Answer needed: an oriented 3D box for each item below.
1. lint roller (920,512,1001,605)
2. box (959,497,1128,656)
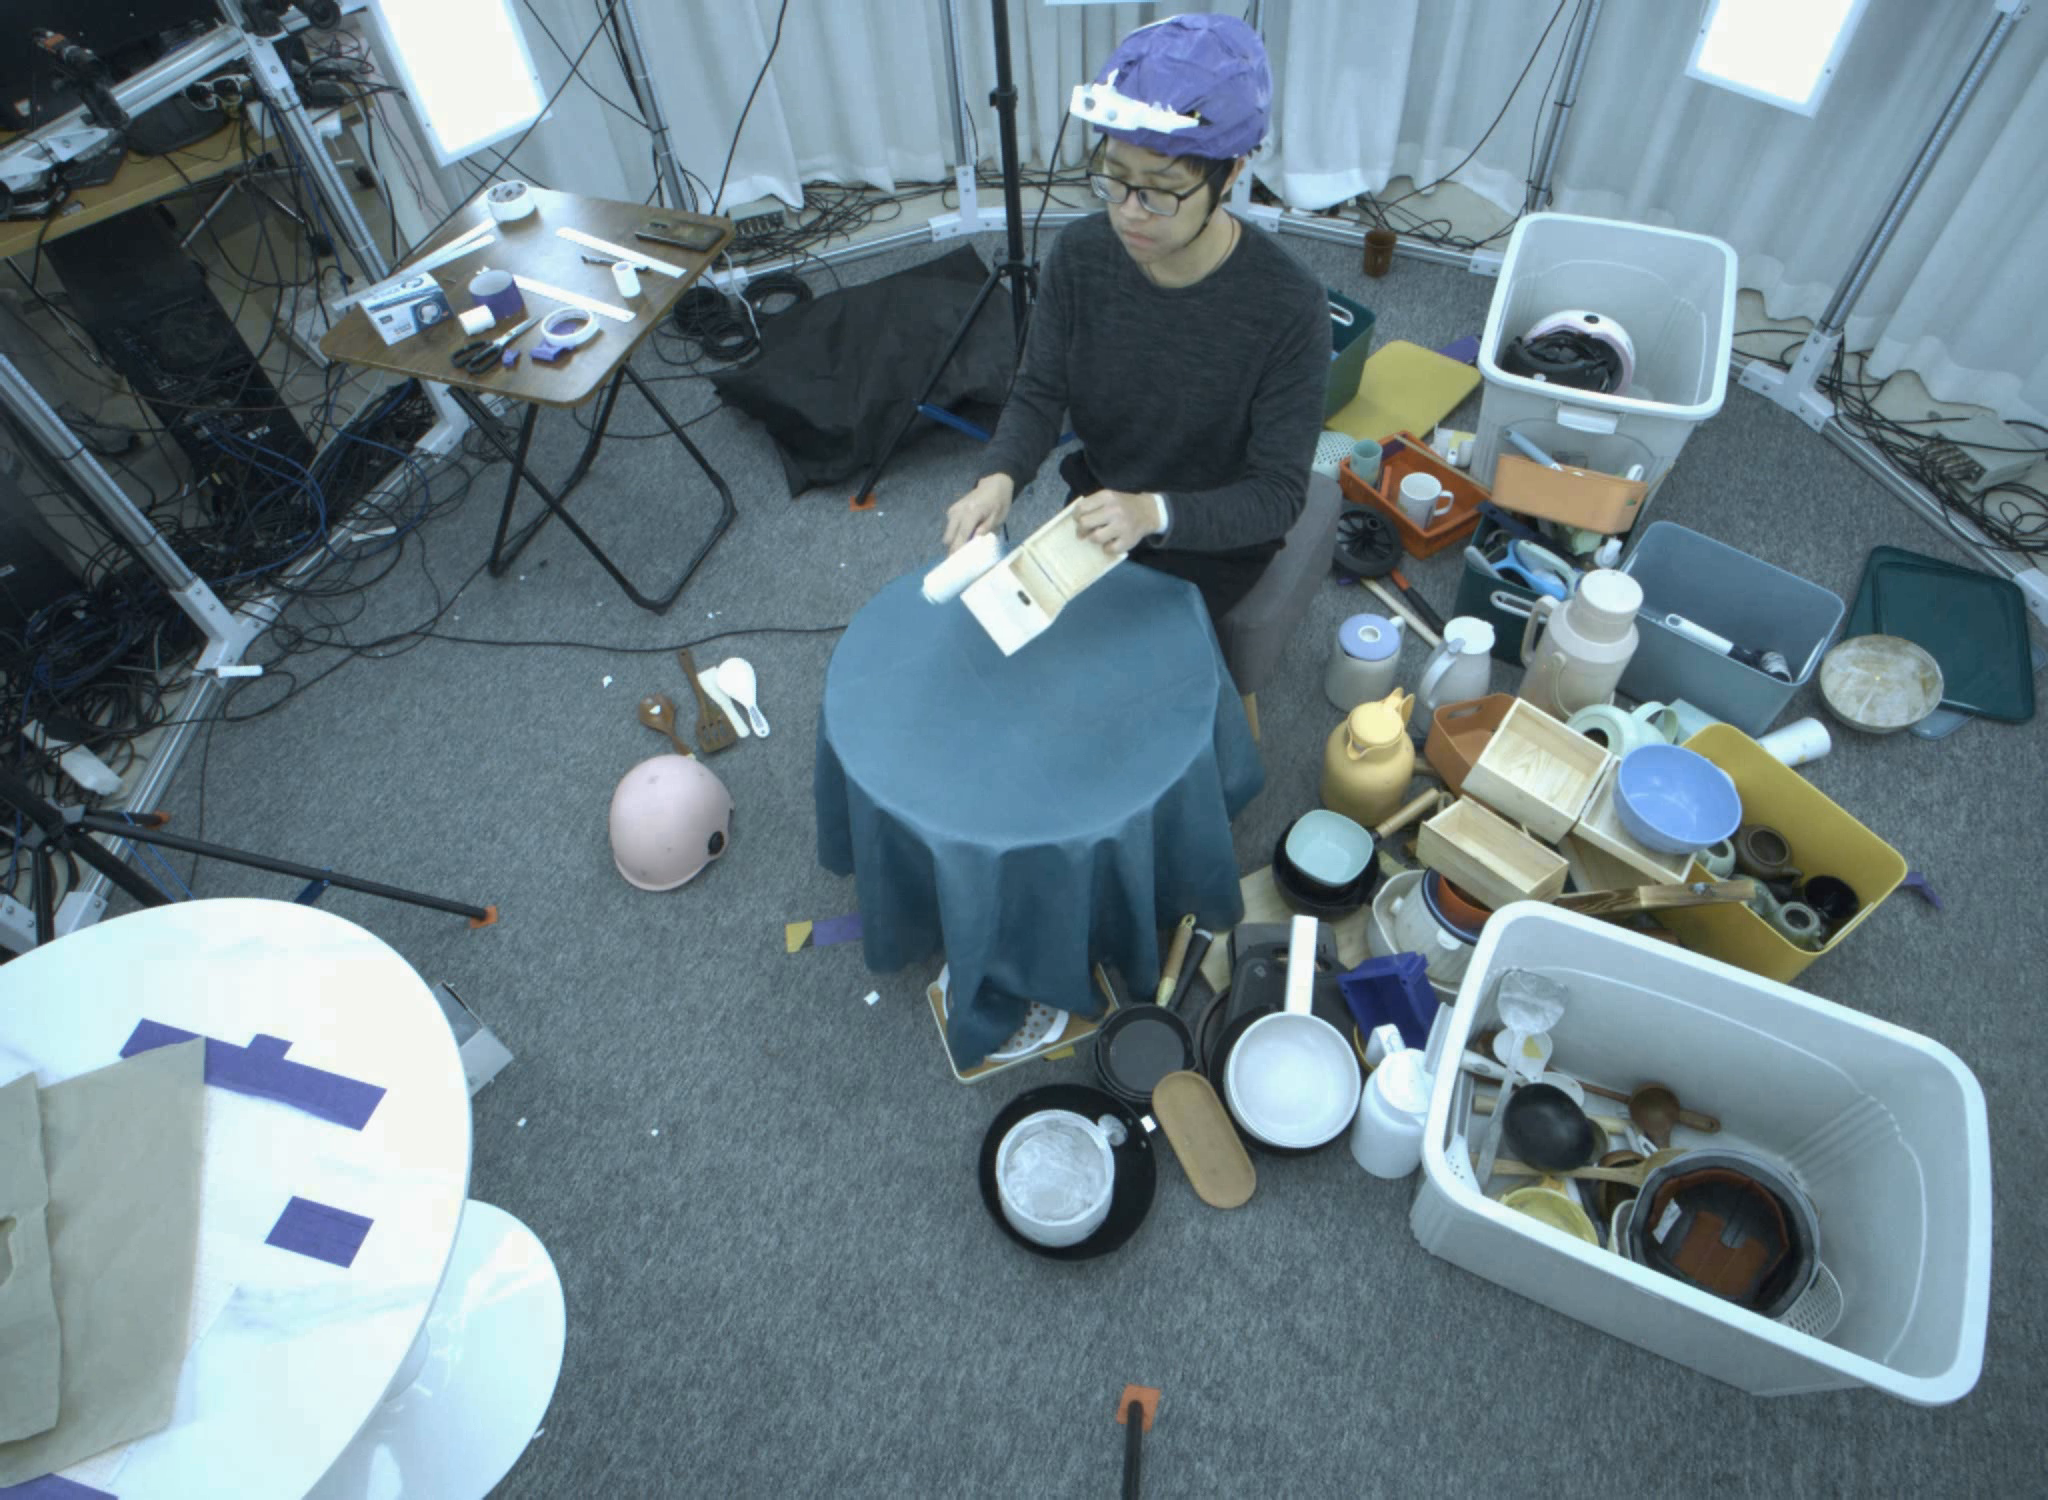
[{"bbox_3d":[-0.087,-0.289,1.702,0.131,0.051,0.178,-33,39,29],"label":"lint roller"},{"bbox_3d":[0.027,-0.230,1.620,0.183,0.103,0.134,-34,12,24],"label":"box"}]
